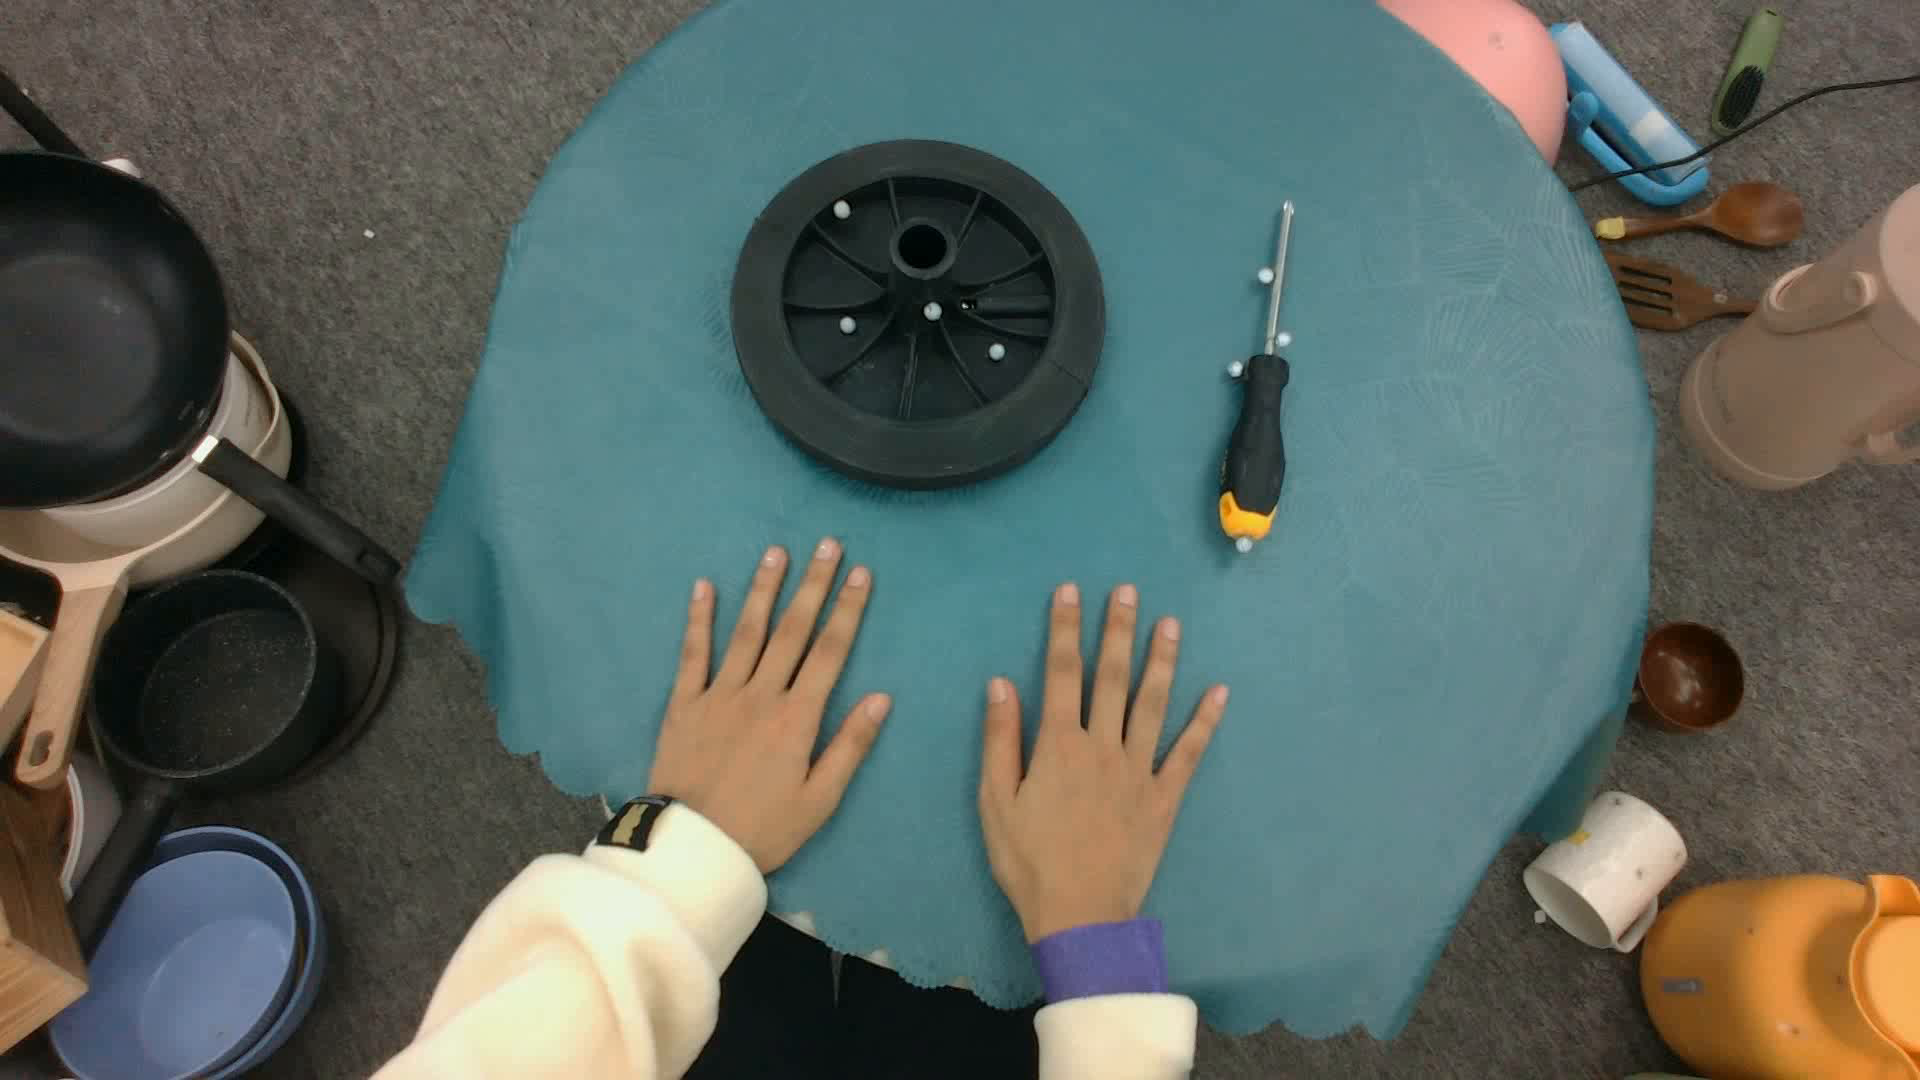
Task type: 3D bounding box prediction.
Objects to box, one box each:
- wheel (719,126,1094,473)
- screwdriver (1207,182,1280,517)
[{"bbox_3d":[-0.023,-0.131,0.674,0.190,0.079,0.187,-24,76,-14],"label":"wheel"},{"bbox_3d":[0.148,-0.104,0.703,0.031,0.031,0.197,9,70,0],"label":"screwdriver"}]
